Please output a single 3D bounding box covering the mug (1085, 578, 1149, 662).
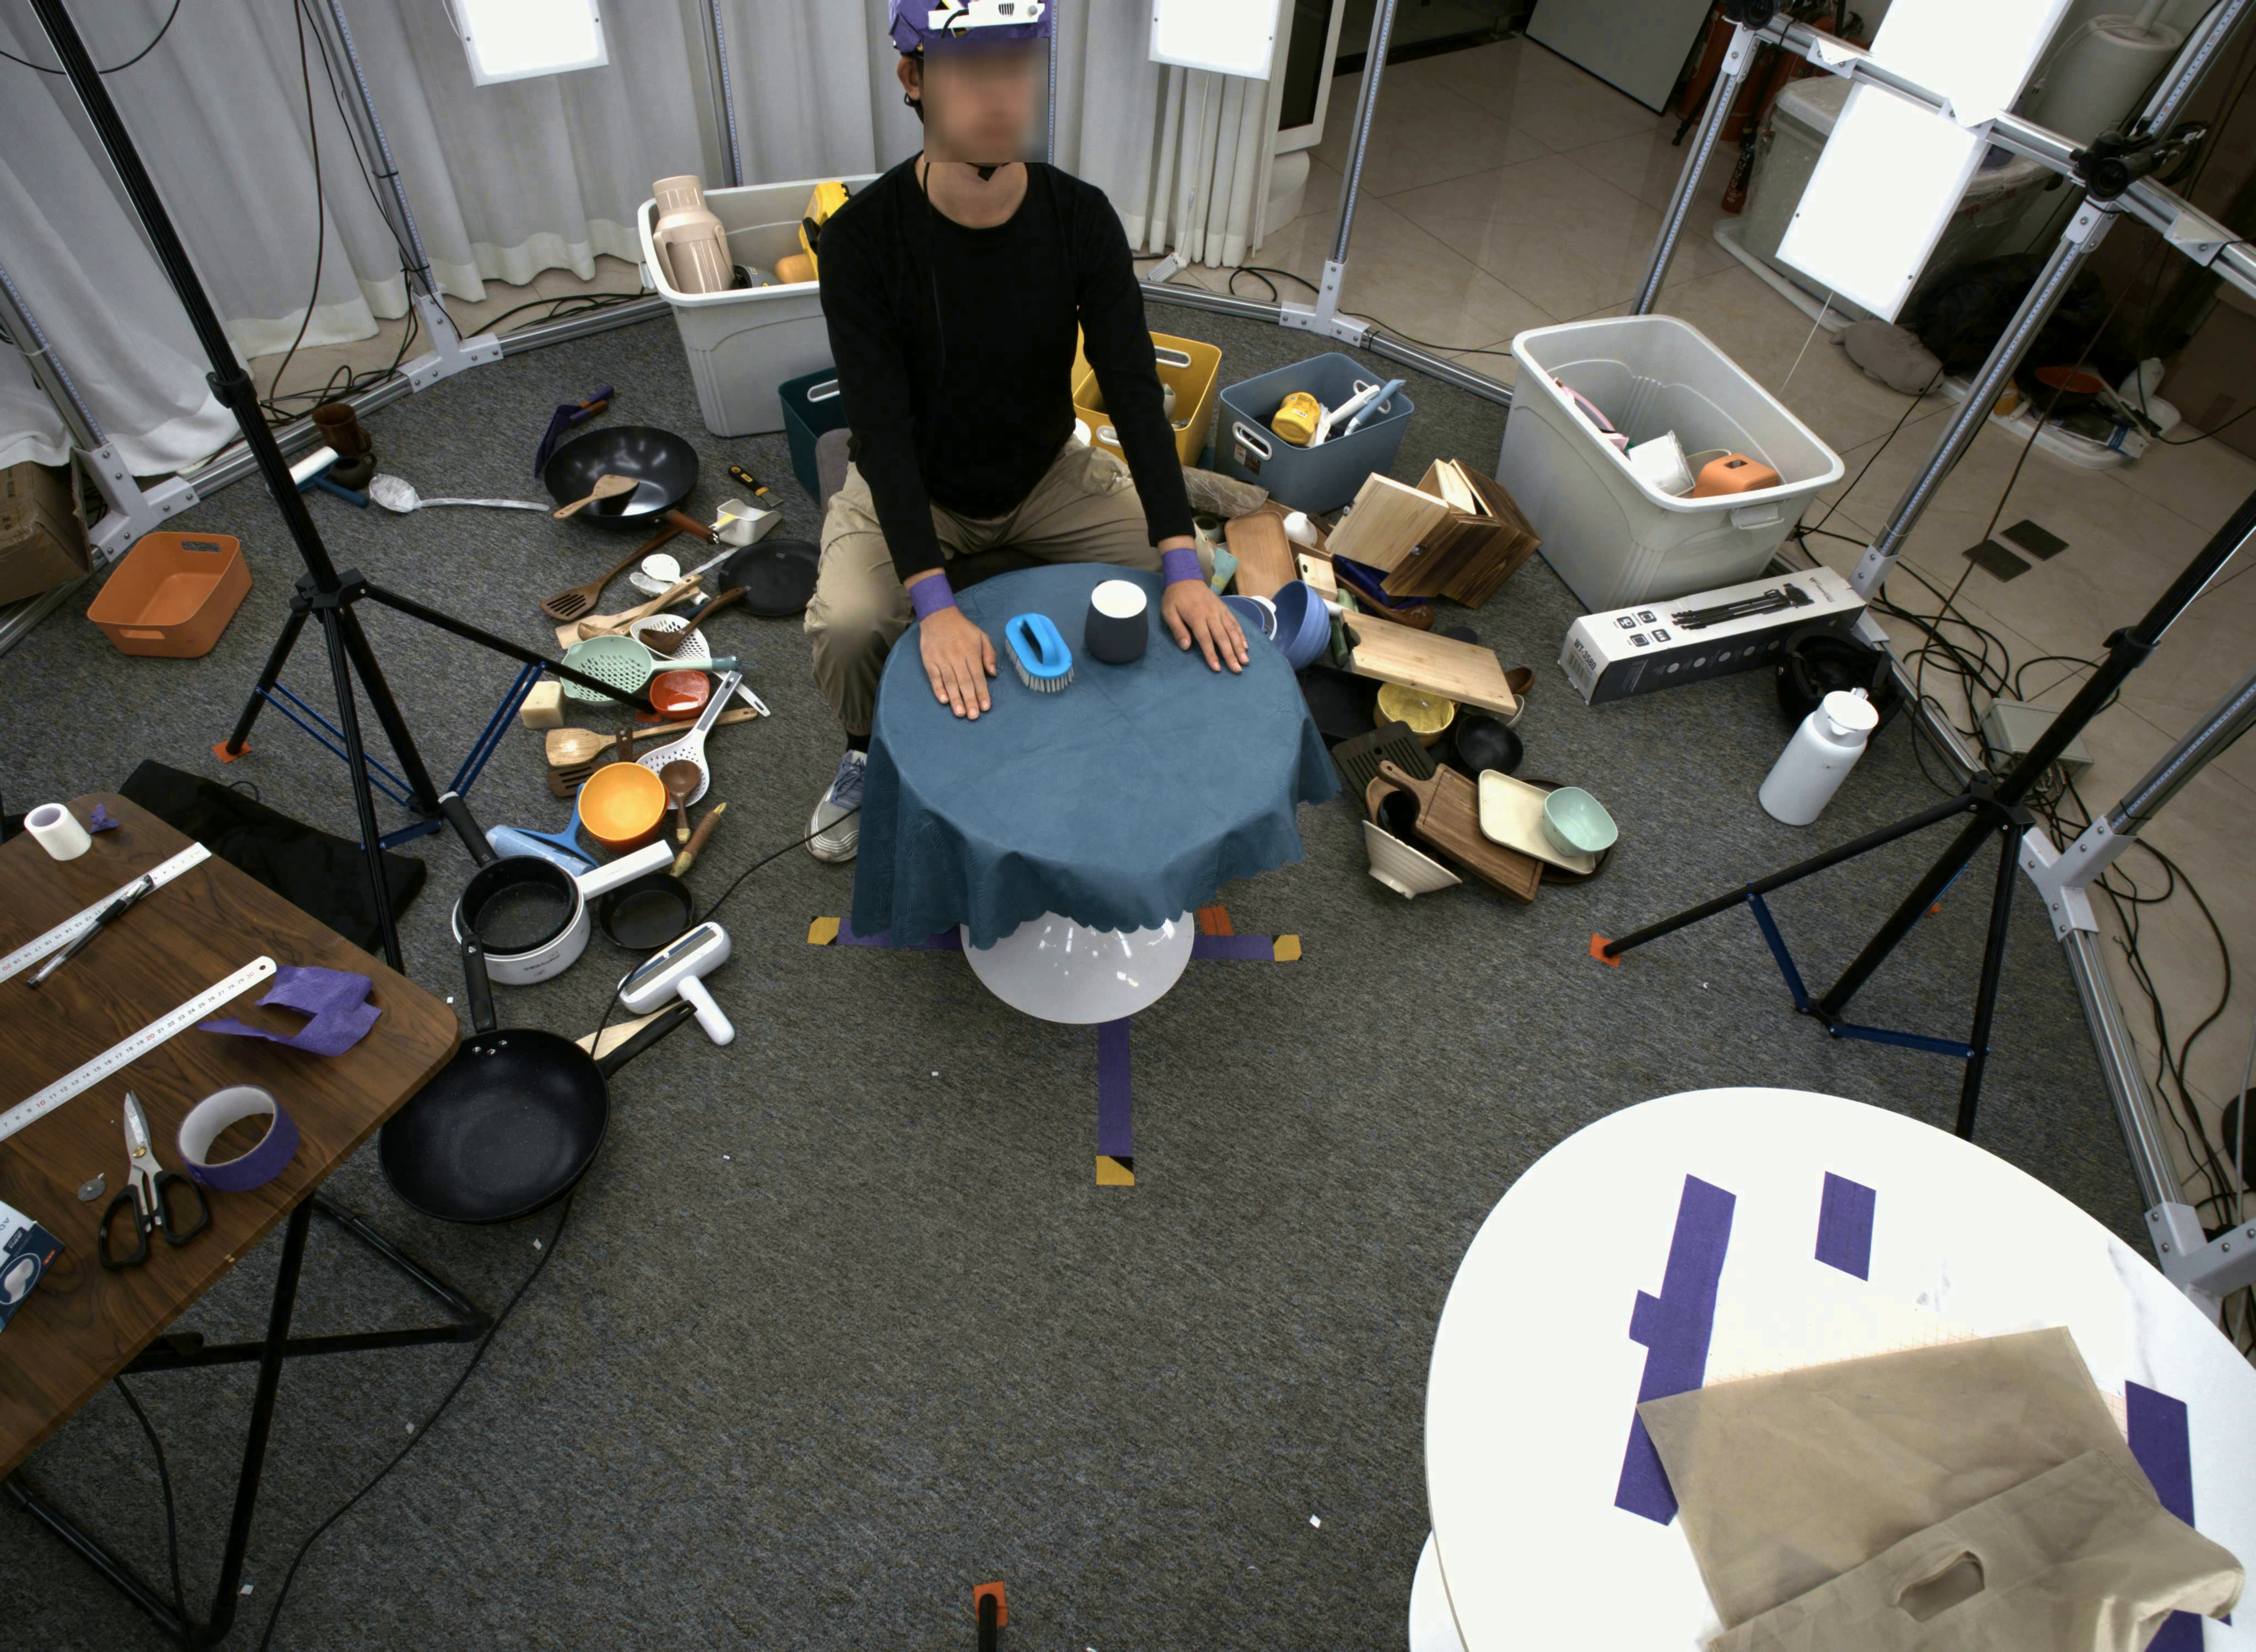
[{"bbox_3d":[-0.019,-0.308,1.872,0.093,0.088,0.126,-11,52,-14],"label":"mug"}]

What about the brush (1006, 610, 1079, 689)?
[{"bbox_3d":[-0.125,-0.264,1.844,0.084,0.062,0.145,-18,52,-13],"label":"brush"}]
